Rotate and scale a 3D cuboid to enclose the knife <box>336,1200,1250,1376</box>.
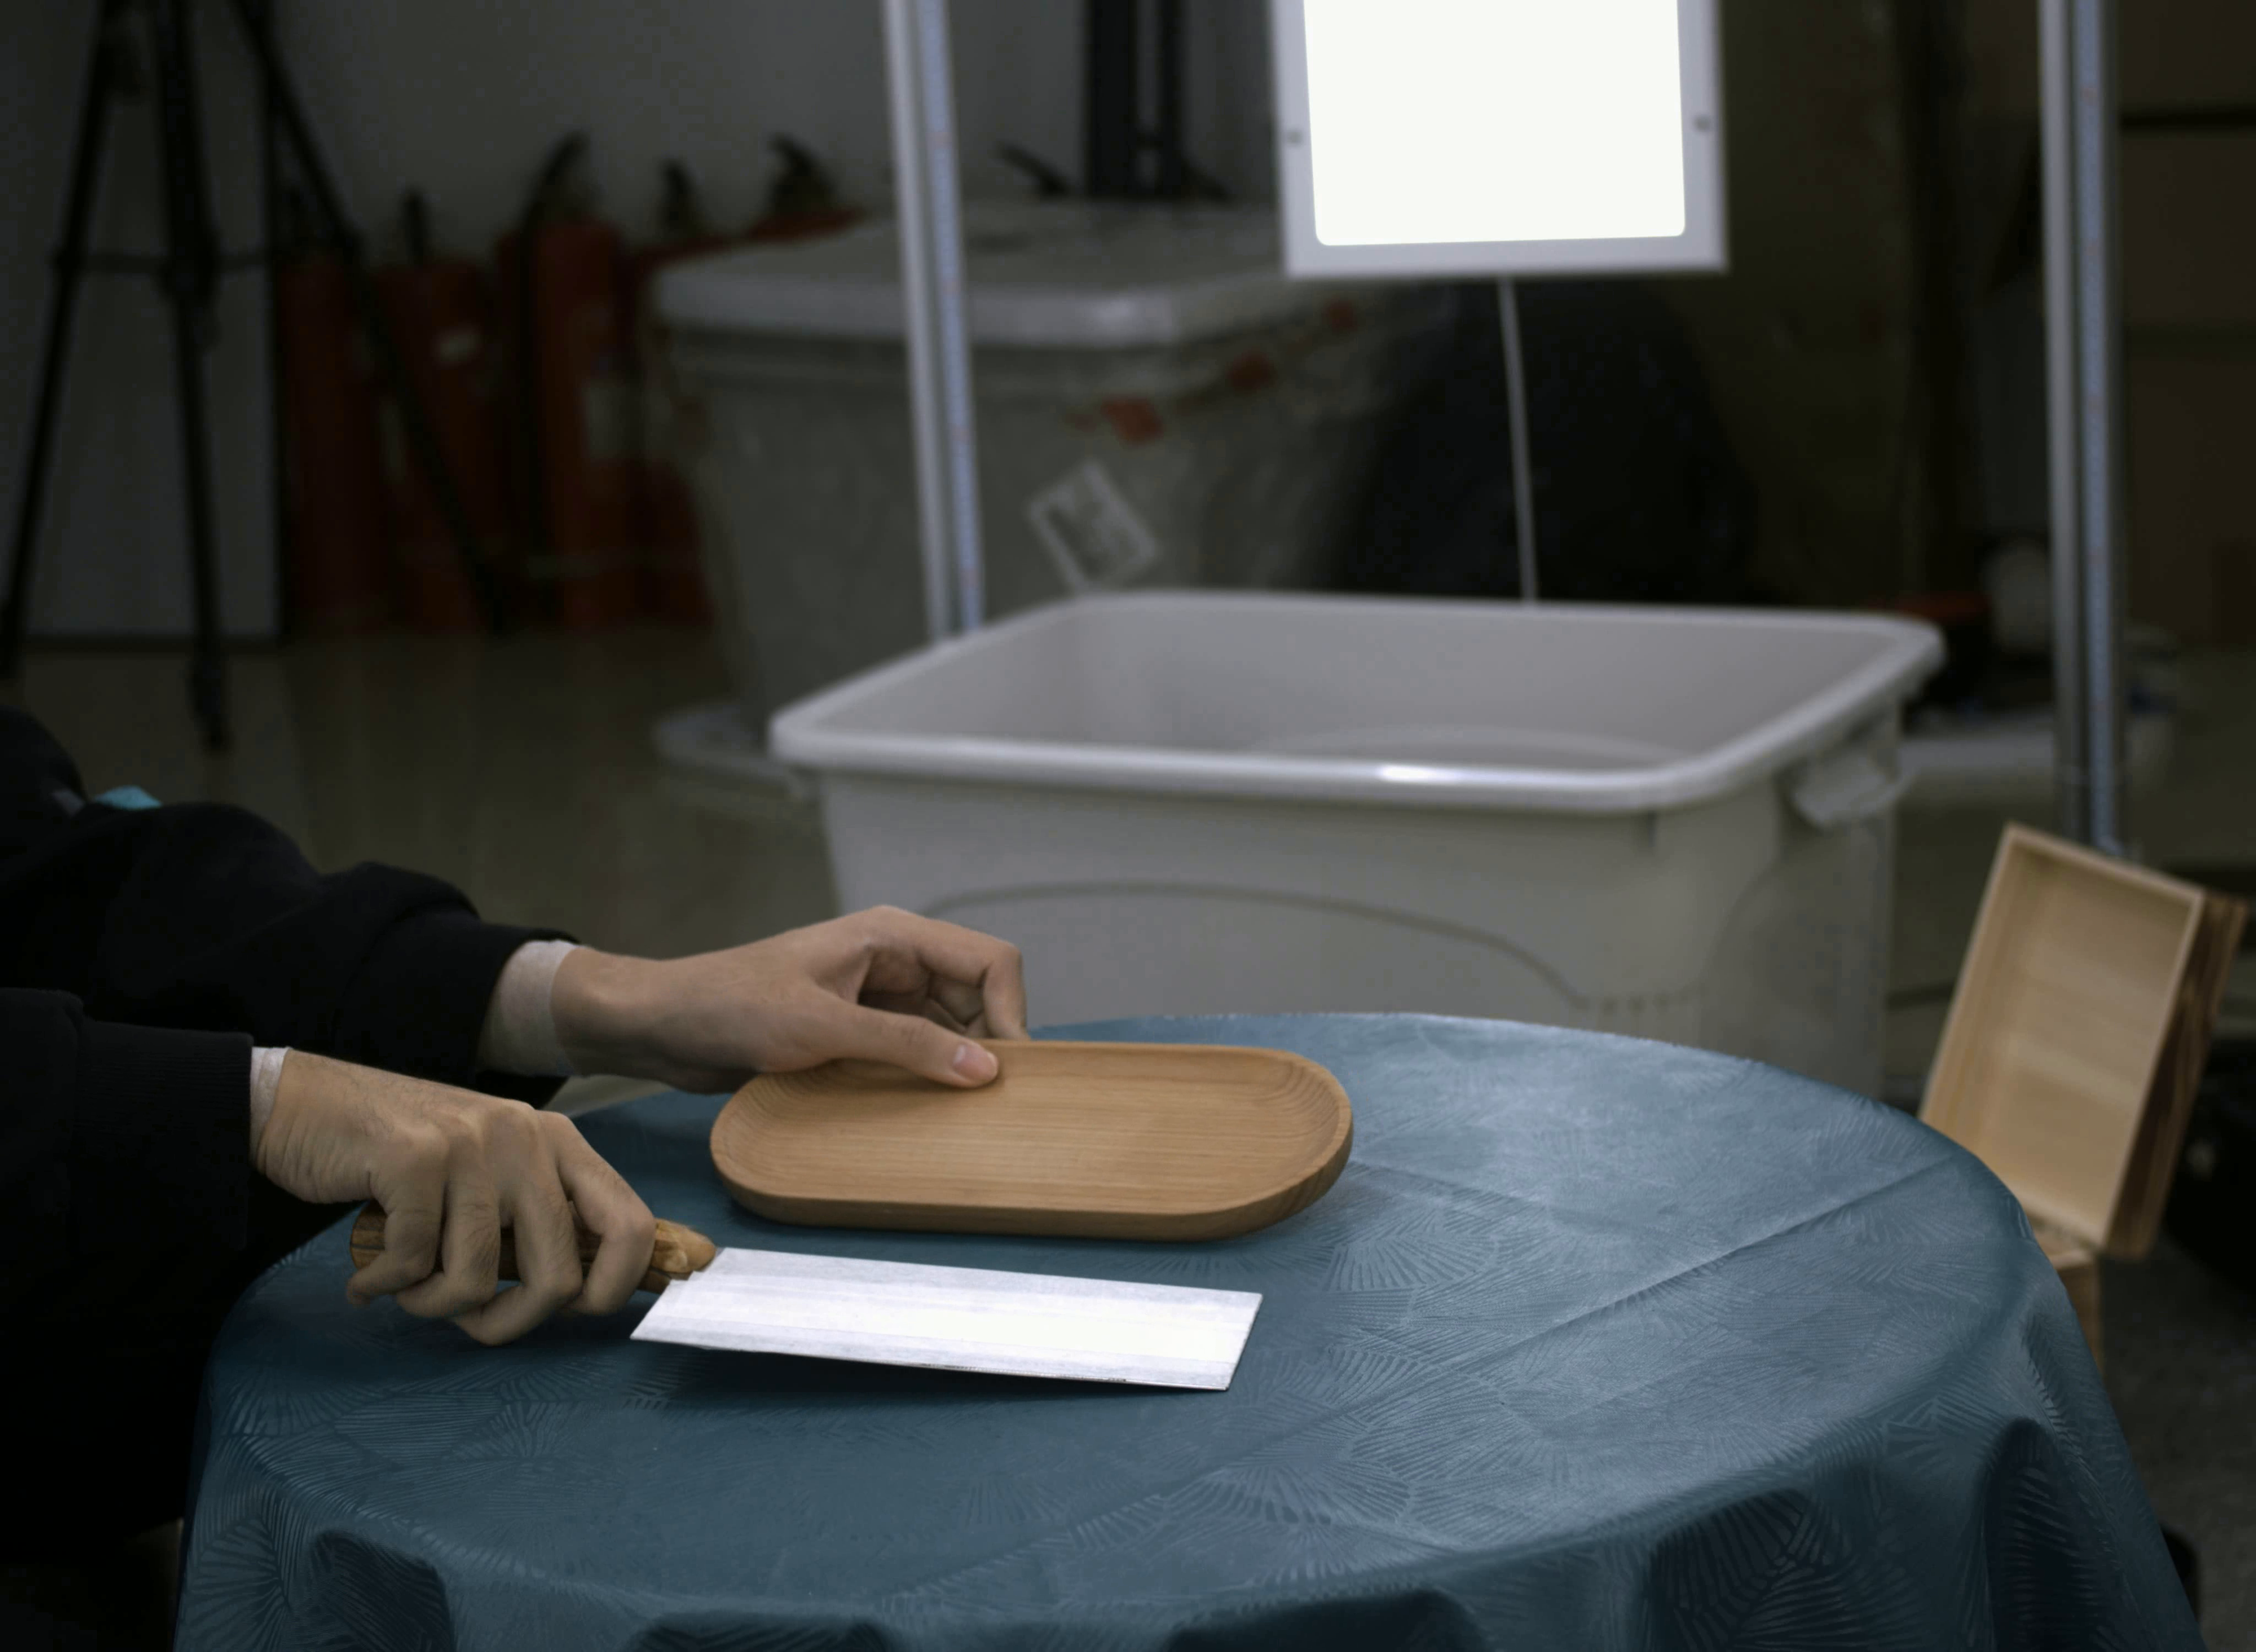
[{"bbox_3d":[-0.112,0.151,1.763,0.307,0.021,0.092,4,15,10],"label":"knife"}]

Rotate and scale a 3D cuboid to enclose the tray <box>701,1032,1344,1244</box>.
[{"bbox_3d":[-0.037,0.108,1.900,0.234,0.020,0.100,0,32,22],"label":"tray"}]
